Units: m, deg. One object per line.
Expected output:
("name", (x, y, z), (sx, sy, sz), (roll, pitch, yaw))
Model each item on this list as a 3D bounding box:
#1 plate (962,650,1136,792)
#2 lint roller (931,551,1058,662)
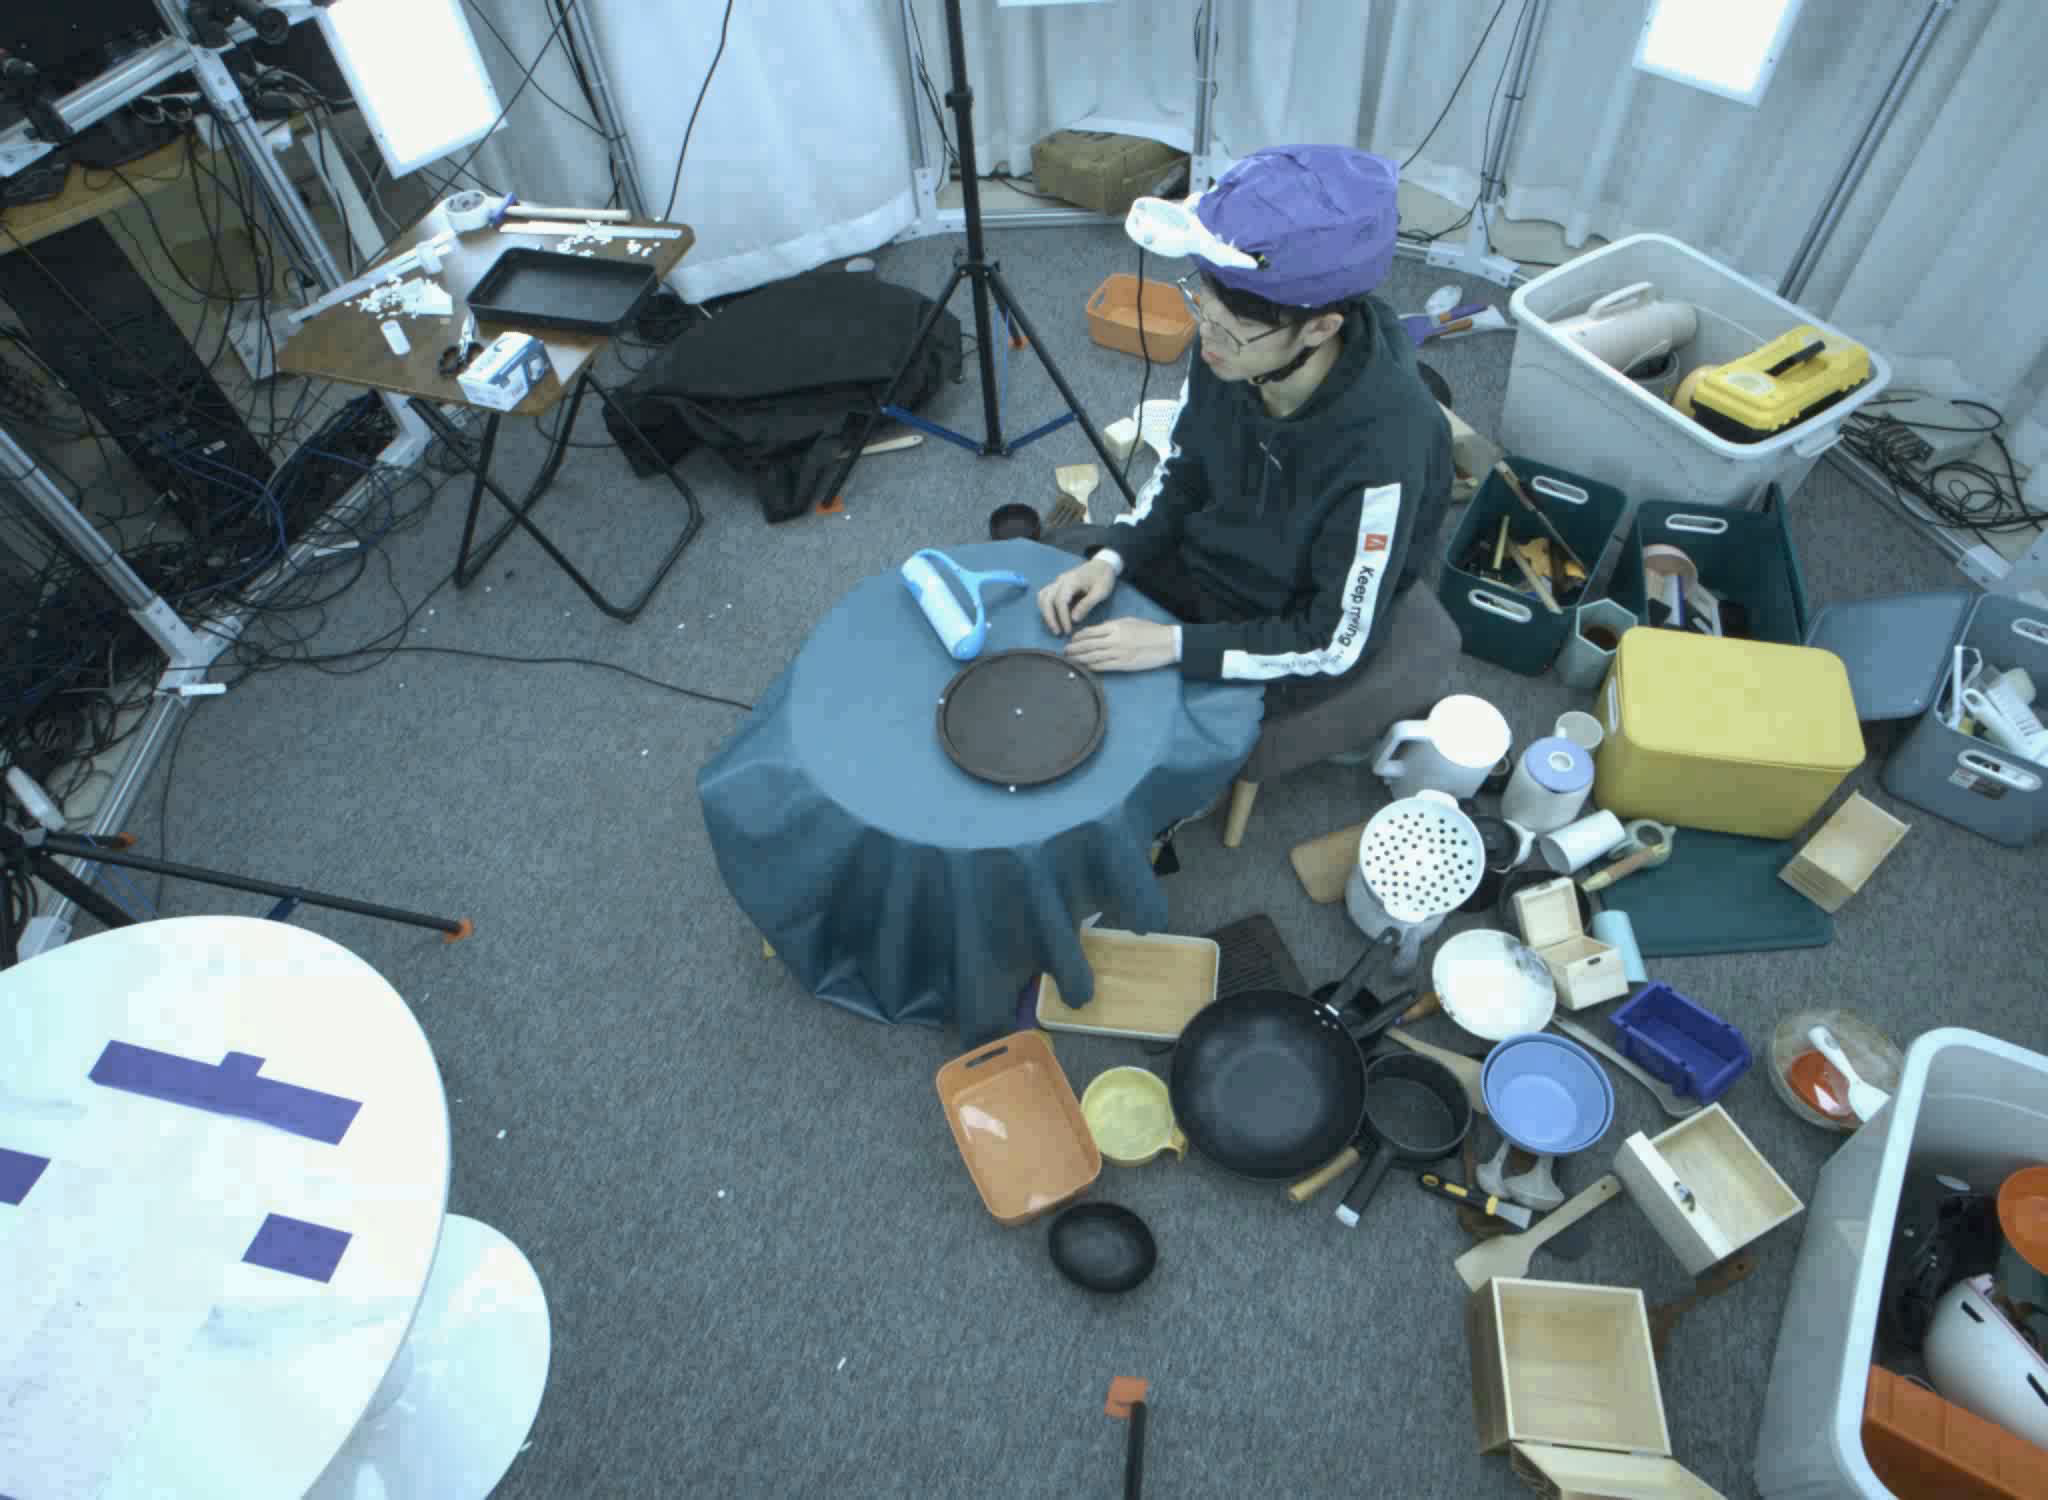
("plate", (0.037, -0.044, 1.799), (0.254, 0.029, 0.252), (-1, 55, 3))
("lint roller", (-0.032, -0.246, 1.924), (0.181, 0.069, 0.224), (-26, 56, -14))
